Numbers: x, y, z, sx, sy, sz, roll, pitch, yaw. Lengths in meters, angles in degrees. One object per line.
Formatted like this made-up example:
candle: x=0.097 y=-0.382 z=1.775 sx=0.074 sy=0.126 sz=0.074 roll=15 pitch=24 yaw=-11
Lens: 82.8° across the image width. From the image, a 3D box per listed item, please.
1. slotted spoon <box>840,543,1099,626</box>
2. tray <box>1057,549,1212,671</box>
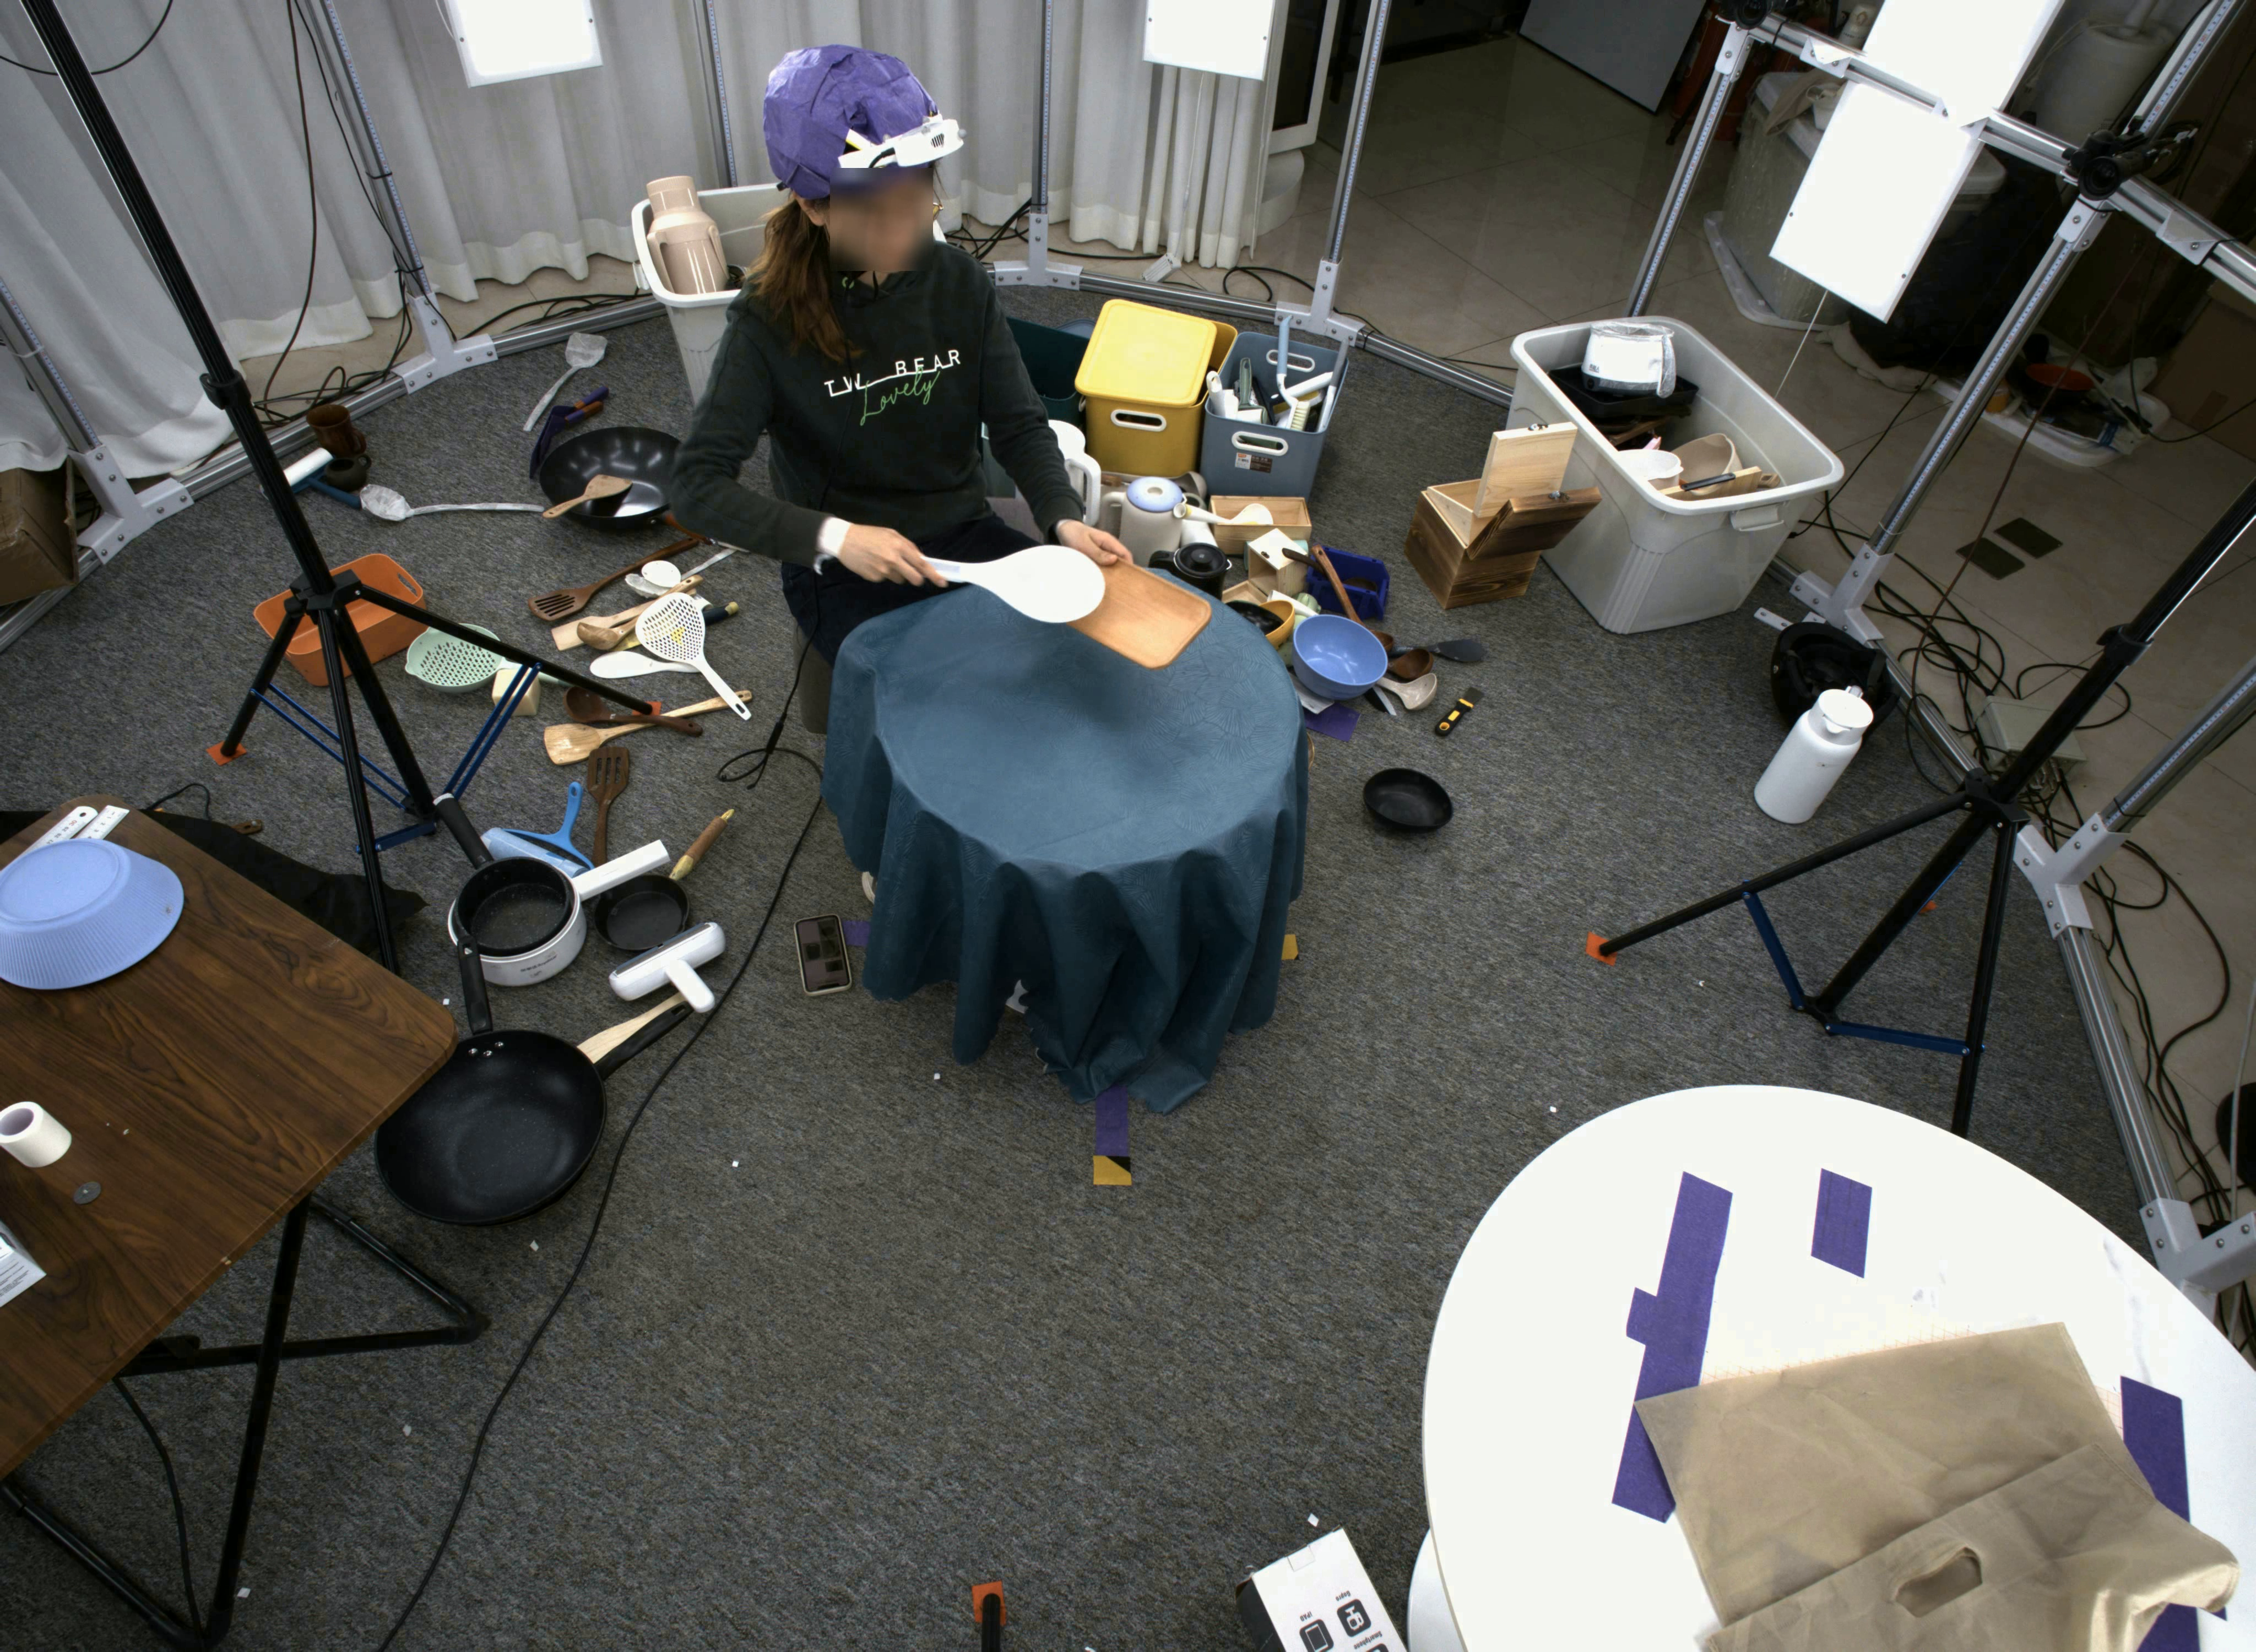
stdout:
slotted spoon: x=-0.215 y=-0.340 z=1.759 sx=0.348 sy=0.045 sz=0.139 roll=12 pitch=53 yaw=-8
tray: x=-0.003 y=-0.302 z=1.783 sx=0.255 sy=0.022 sz=0.131 roll=33 pitch=73 yaw=36
